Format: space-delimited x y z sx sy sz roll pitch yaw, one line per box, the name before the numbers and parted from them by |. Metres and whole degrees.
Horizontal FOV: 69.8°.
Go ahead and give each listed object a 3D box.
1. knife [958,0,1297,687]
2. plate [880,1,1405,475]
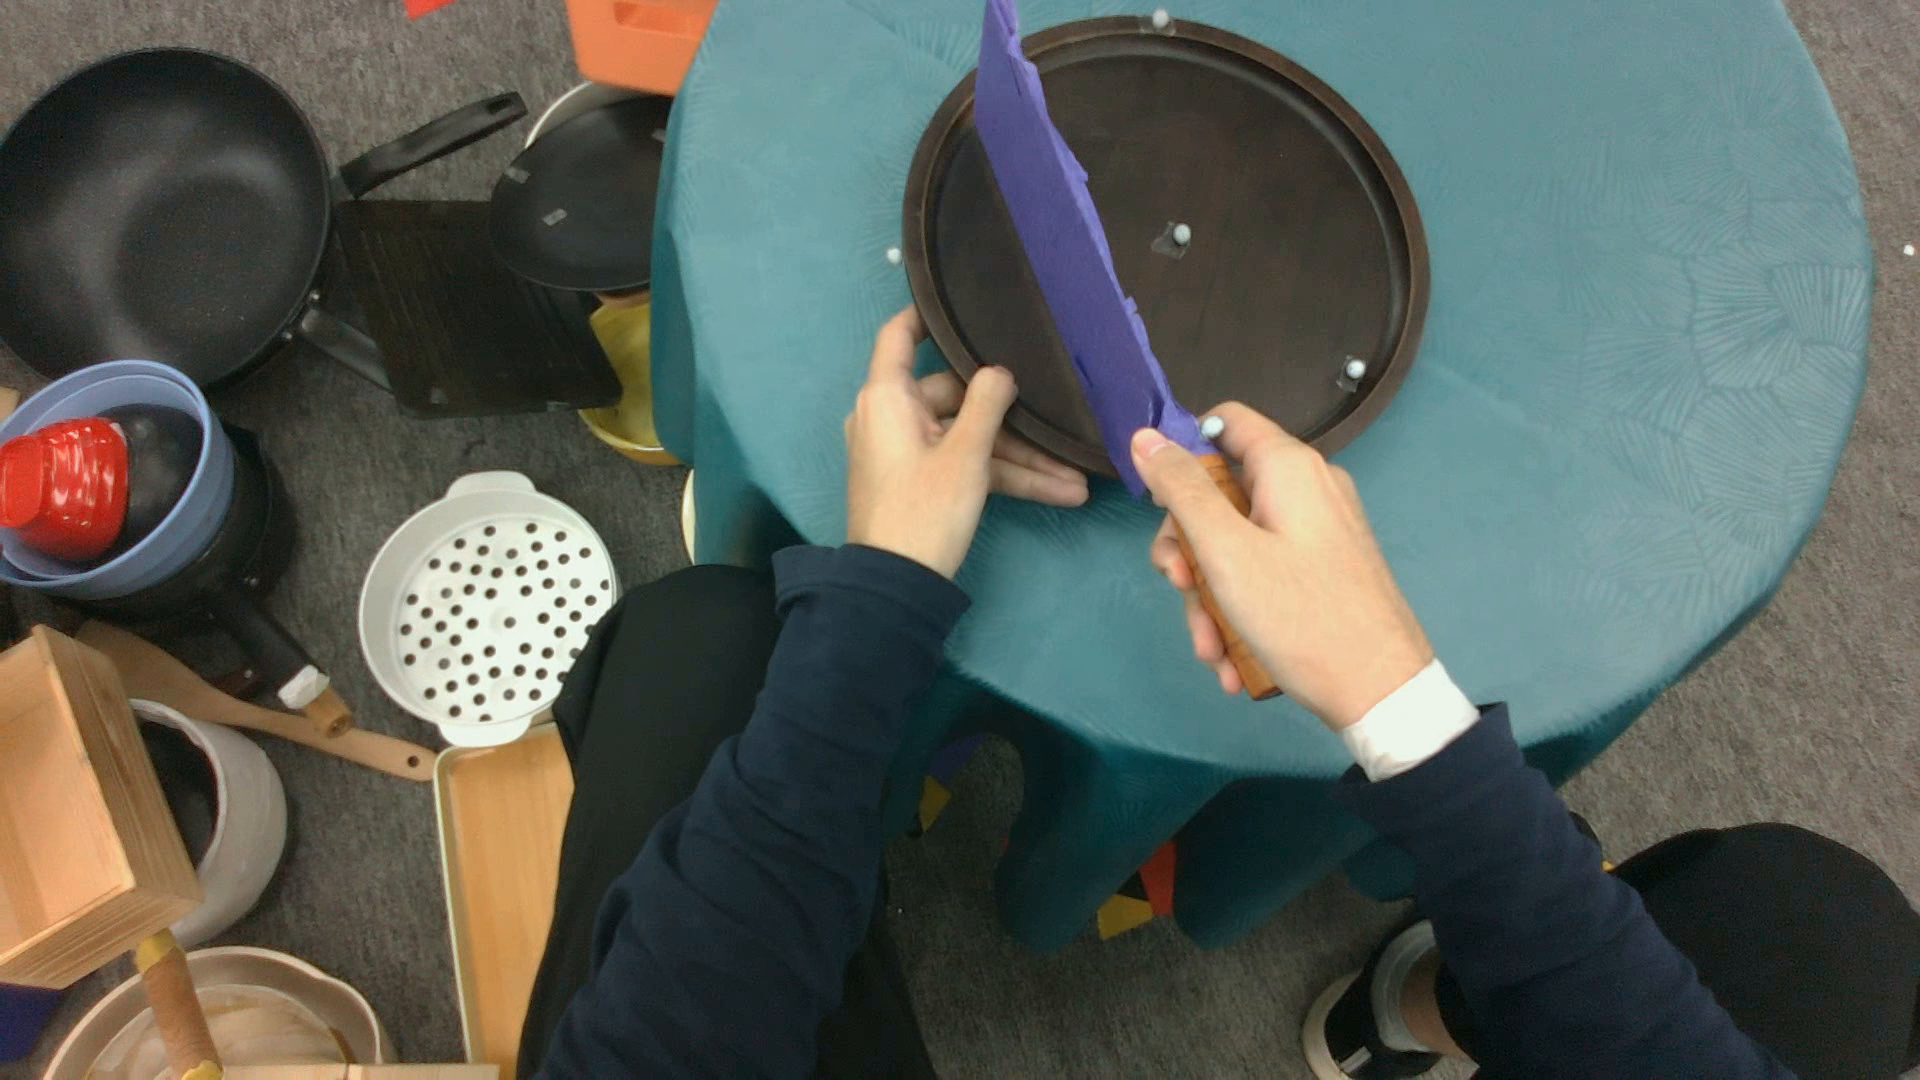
knife | 0.058 -0.085 0.565 0.032 0.103 0.316 -16 74 -9
plate | 0.088 -0.146 0.653 0.255 0.029 0.255 3 69 -7
